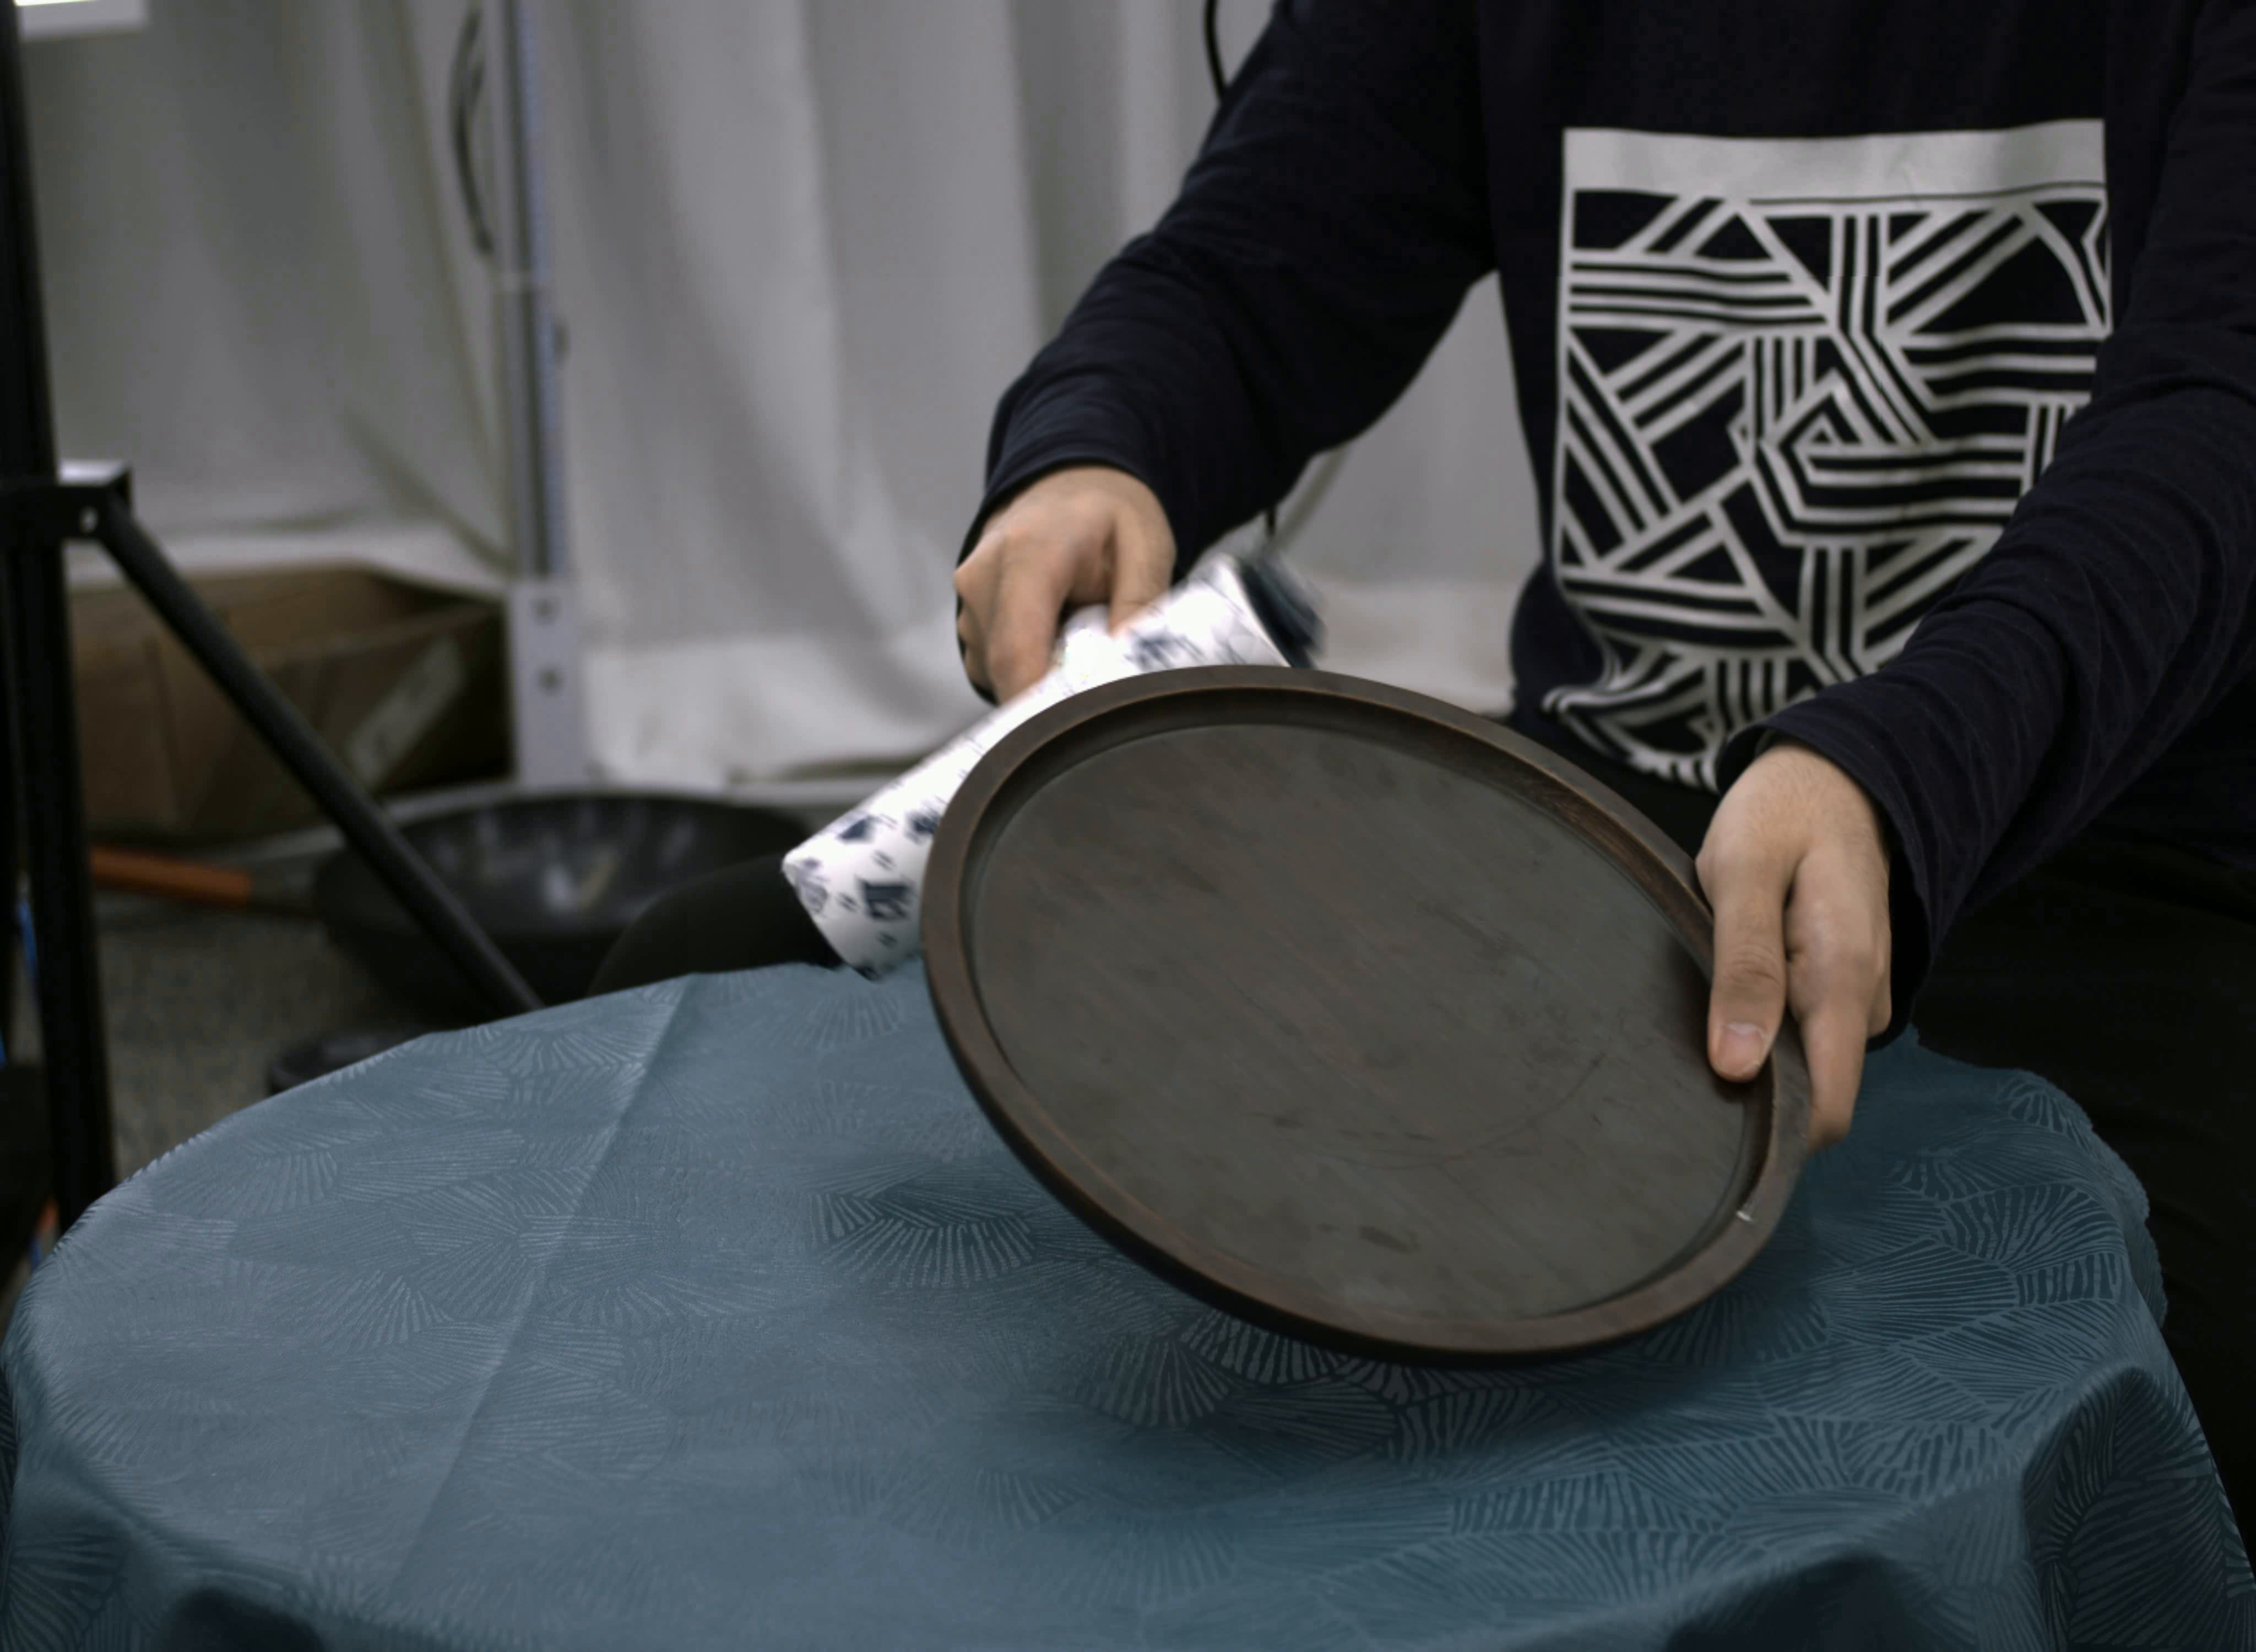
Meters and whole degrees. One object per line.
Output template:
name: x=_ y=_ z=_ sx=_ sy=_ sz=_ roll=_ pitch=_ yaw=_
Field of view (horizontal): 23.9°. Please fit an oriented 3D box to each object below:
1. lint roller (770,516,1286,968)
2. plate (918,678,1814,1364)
lint roller: x=-0.020 y=-0.043 z=1.652 sx=0.177 sy=0.050 sz=0.246 roll=-38 pitch=6 yaw=12
plate: x=0.064 y=0.050 z=1.440 sx=0.251 sy=0.029 sz=0.257 roll=11 pitch=41 yaw=-11
